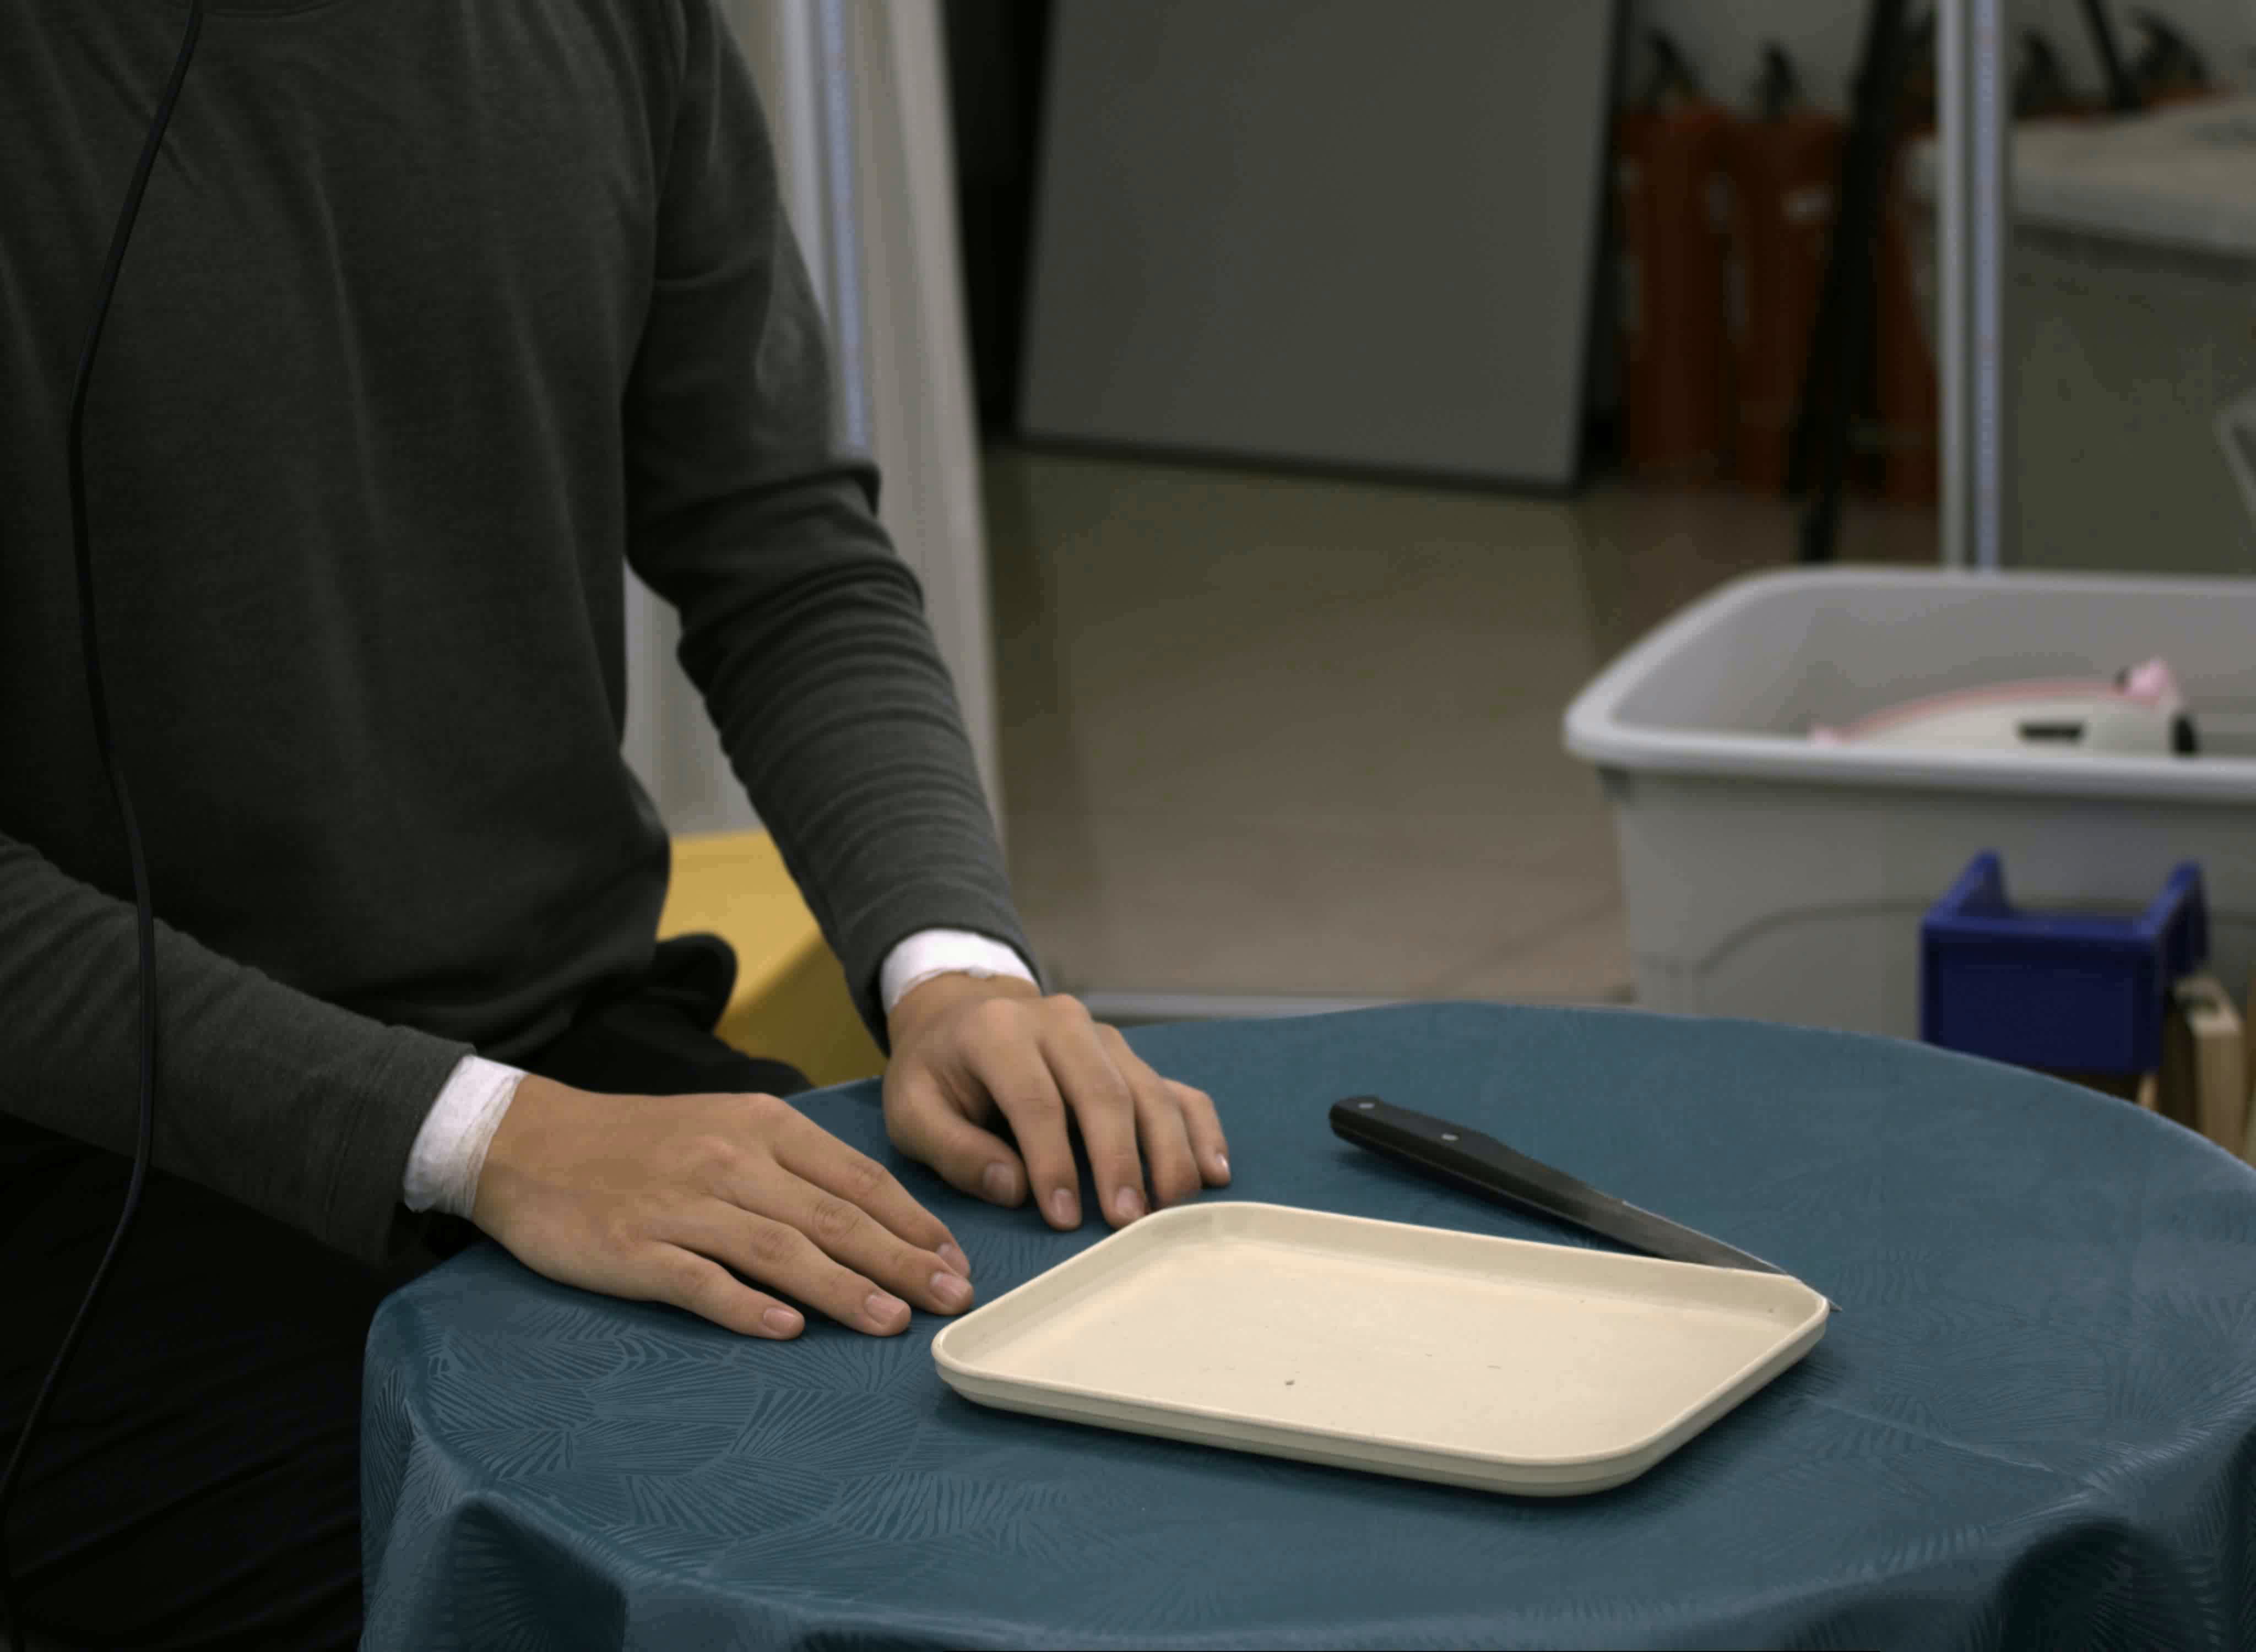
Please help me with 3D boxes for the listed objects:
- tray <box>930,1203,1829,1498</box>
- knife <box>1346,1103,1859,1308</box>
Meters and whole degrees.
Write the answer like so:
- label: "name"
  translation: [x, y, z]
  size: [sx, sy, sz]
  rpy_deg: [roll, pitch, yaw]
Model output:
- label: "tray"
  translation: [0.074, 0.153, 1.584]
  size: [0.241, 0.017, 0.168]
  rpy_deg: [5, 17, 34]
- label: "knife"
  translation: [0.145, 0.122, 1.705]
  size: [0.024, 0.016, 0.241]
  rpy_deg: [-16, 20, -33]
